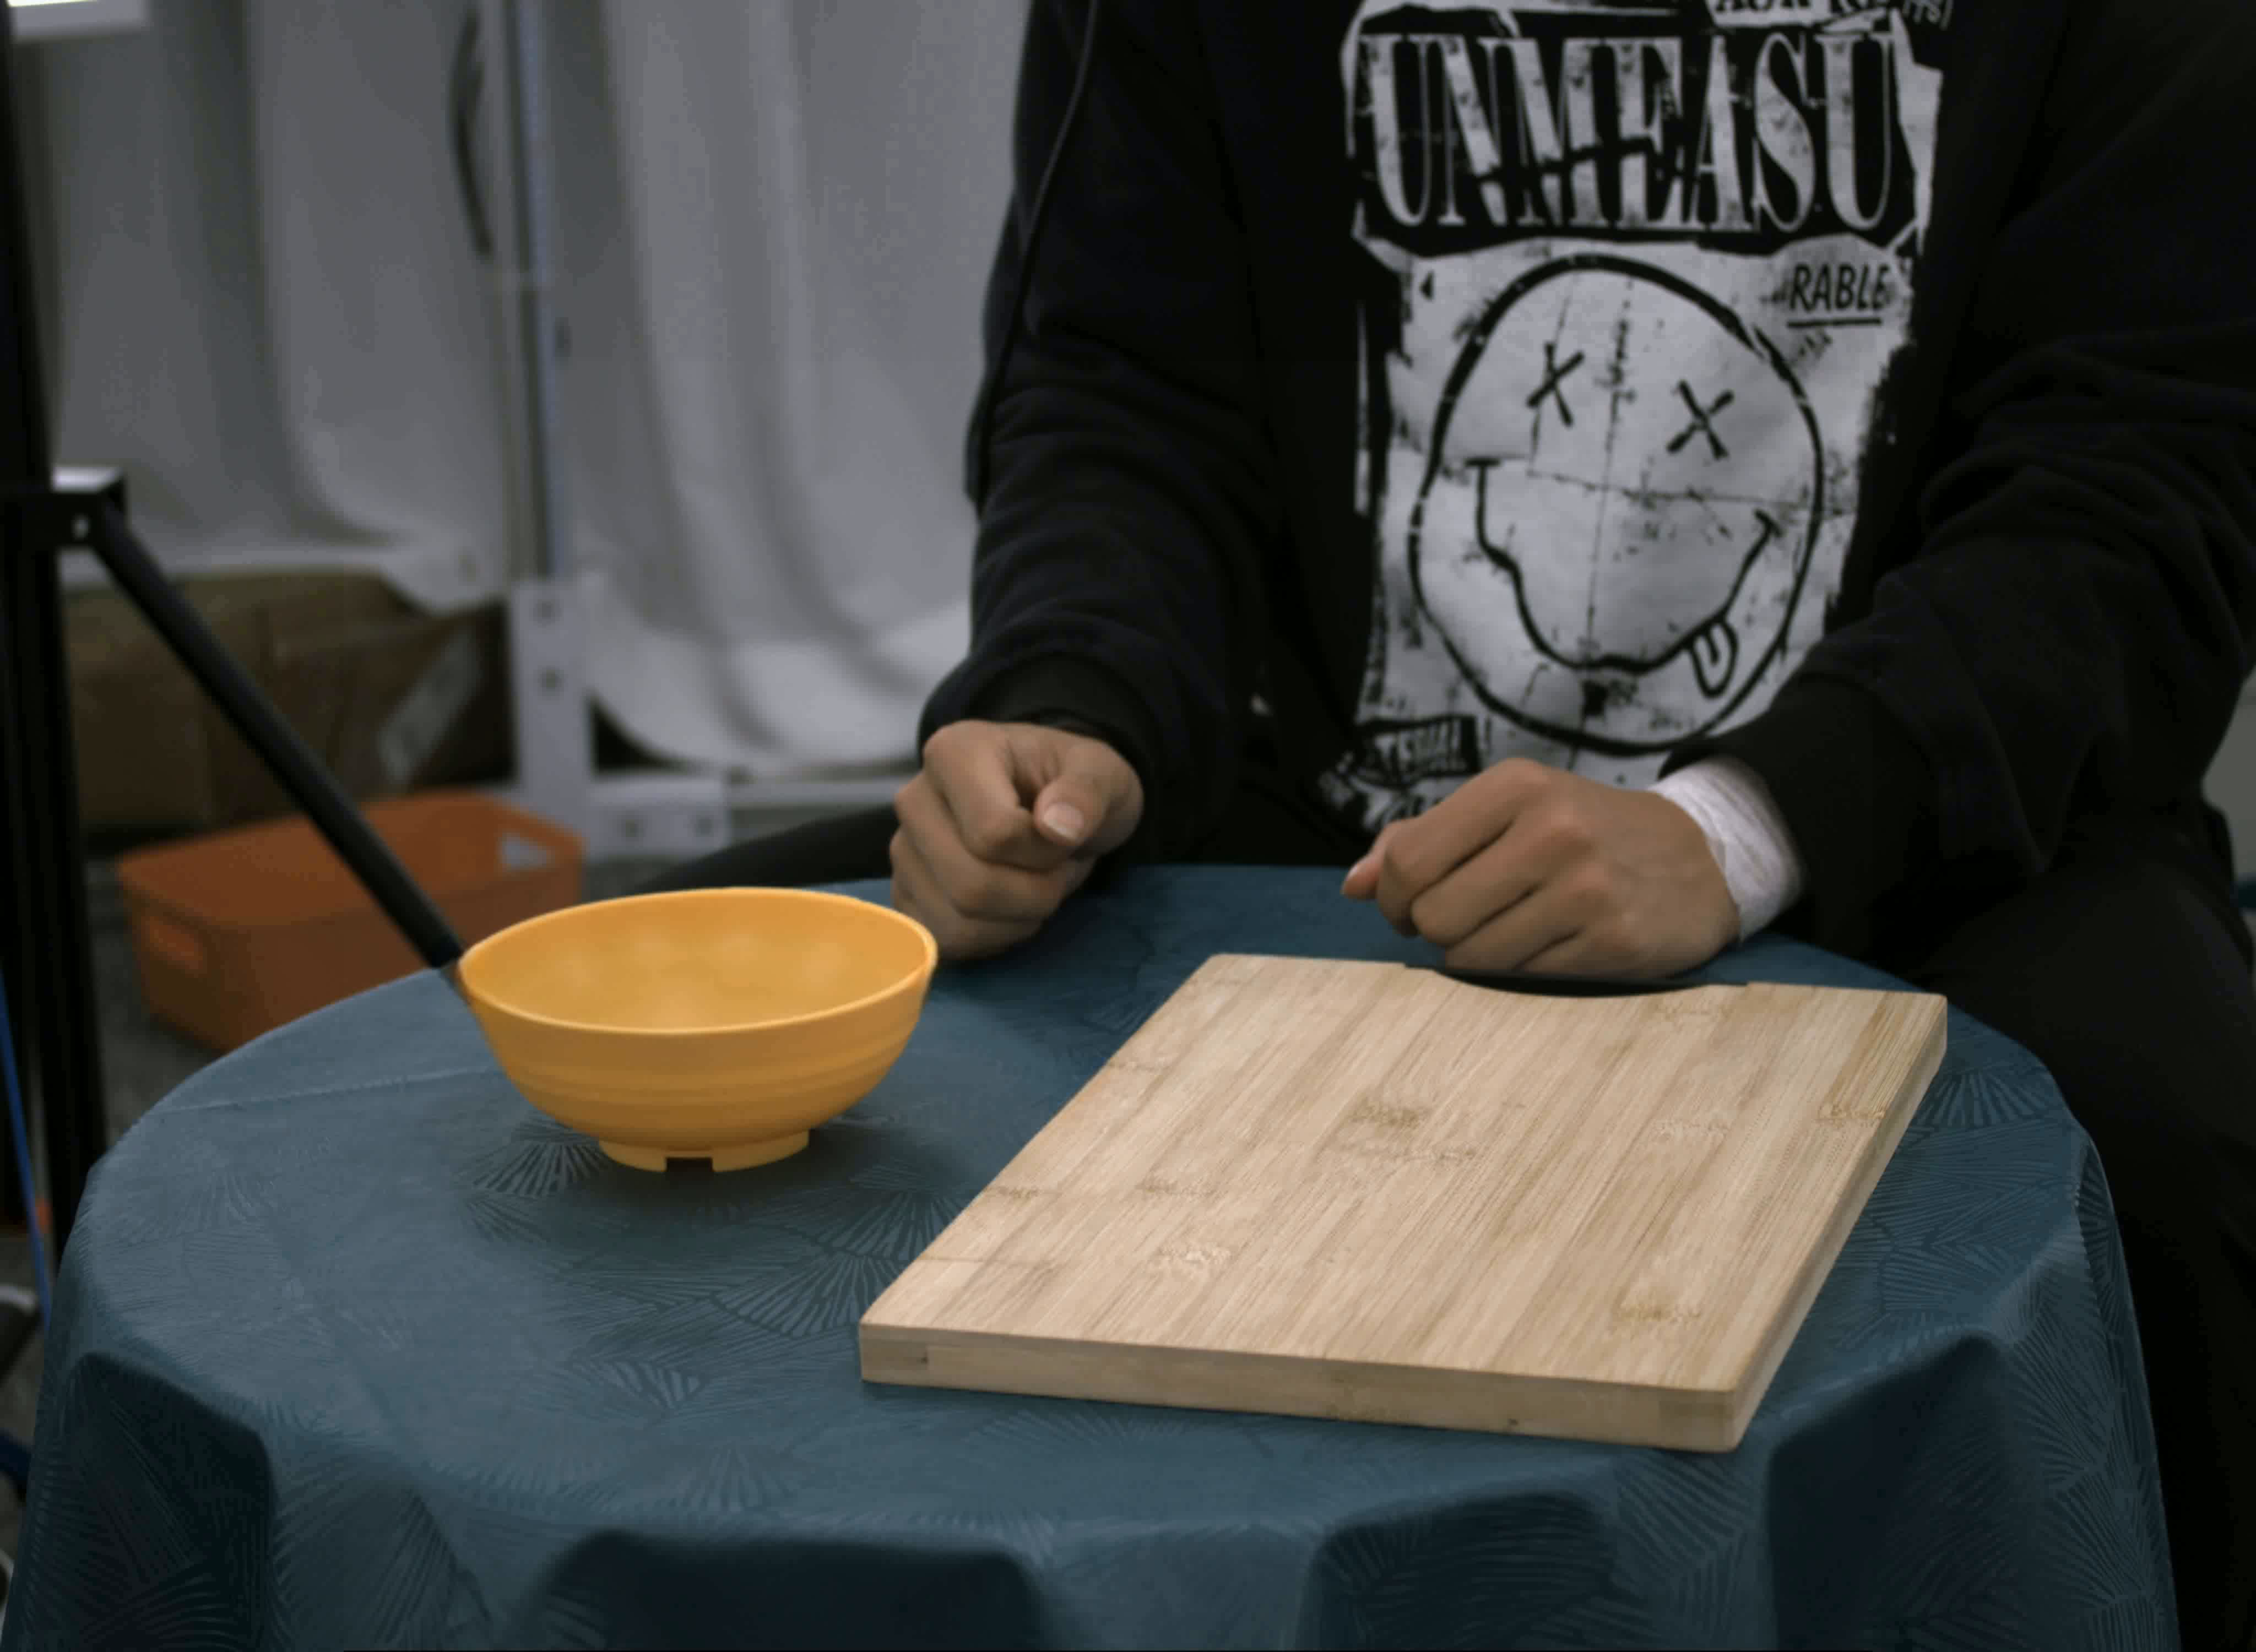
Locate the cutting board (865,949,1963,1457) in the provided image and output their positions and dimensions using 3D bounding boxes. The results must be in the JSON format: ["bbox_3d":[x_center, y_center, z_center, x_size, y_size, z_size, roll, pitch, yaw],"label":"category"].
[{"bbox_3d":[0.095,0.101,1.538,0.253,0.023,0.345,3,17,17],"label":"cutting board"}]

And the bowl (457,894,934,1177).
[{"bbox_3d":[-0.131,0.069,1.618,0.144,0.060,0.146,0,15,-1],"label":"bowl"}]
